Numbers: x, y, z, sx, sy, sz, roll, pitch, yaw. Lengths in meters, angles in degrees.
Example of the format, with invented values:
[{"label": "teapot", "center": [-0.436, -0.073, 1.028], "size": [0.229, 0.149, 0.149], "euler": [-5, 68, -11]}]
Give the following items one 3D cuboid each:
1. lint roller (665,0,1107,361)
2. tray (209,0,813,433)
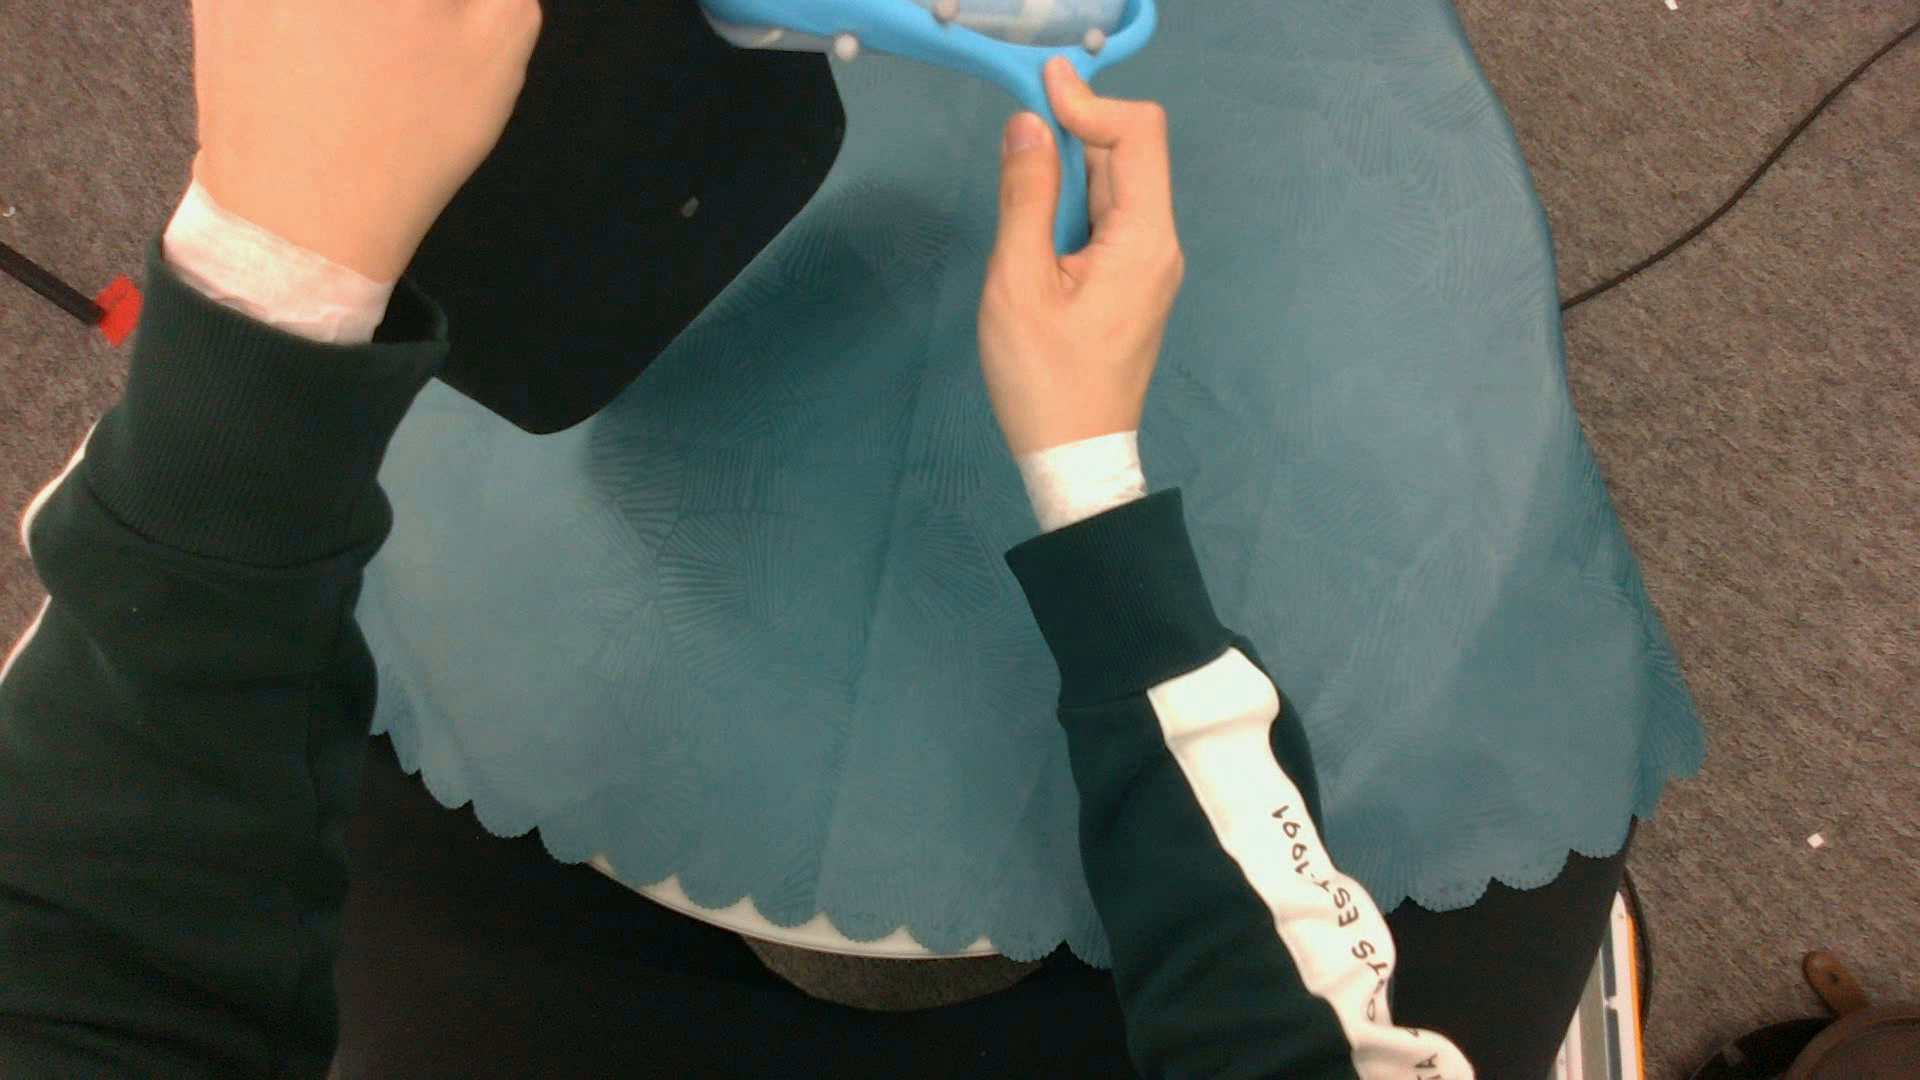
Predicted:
[{"label": "lint roller", "center": [0.003, -0.161, 0.518], "size": [0.067, 0.230, 0.180], "euler": [-30, 88, 37]}, {"label": "tray", "center": [-0.144, -0.144, 0.523], "size": [0.010, 0.325, 0.211], "euler": [41, 86, 7]}]
